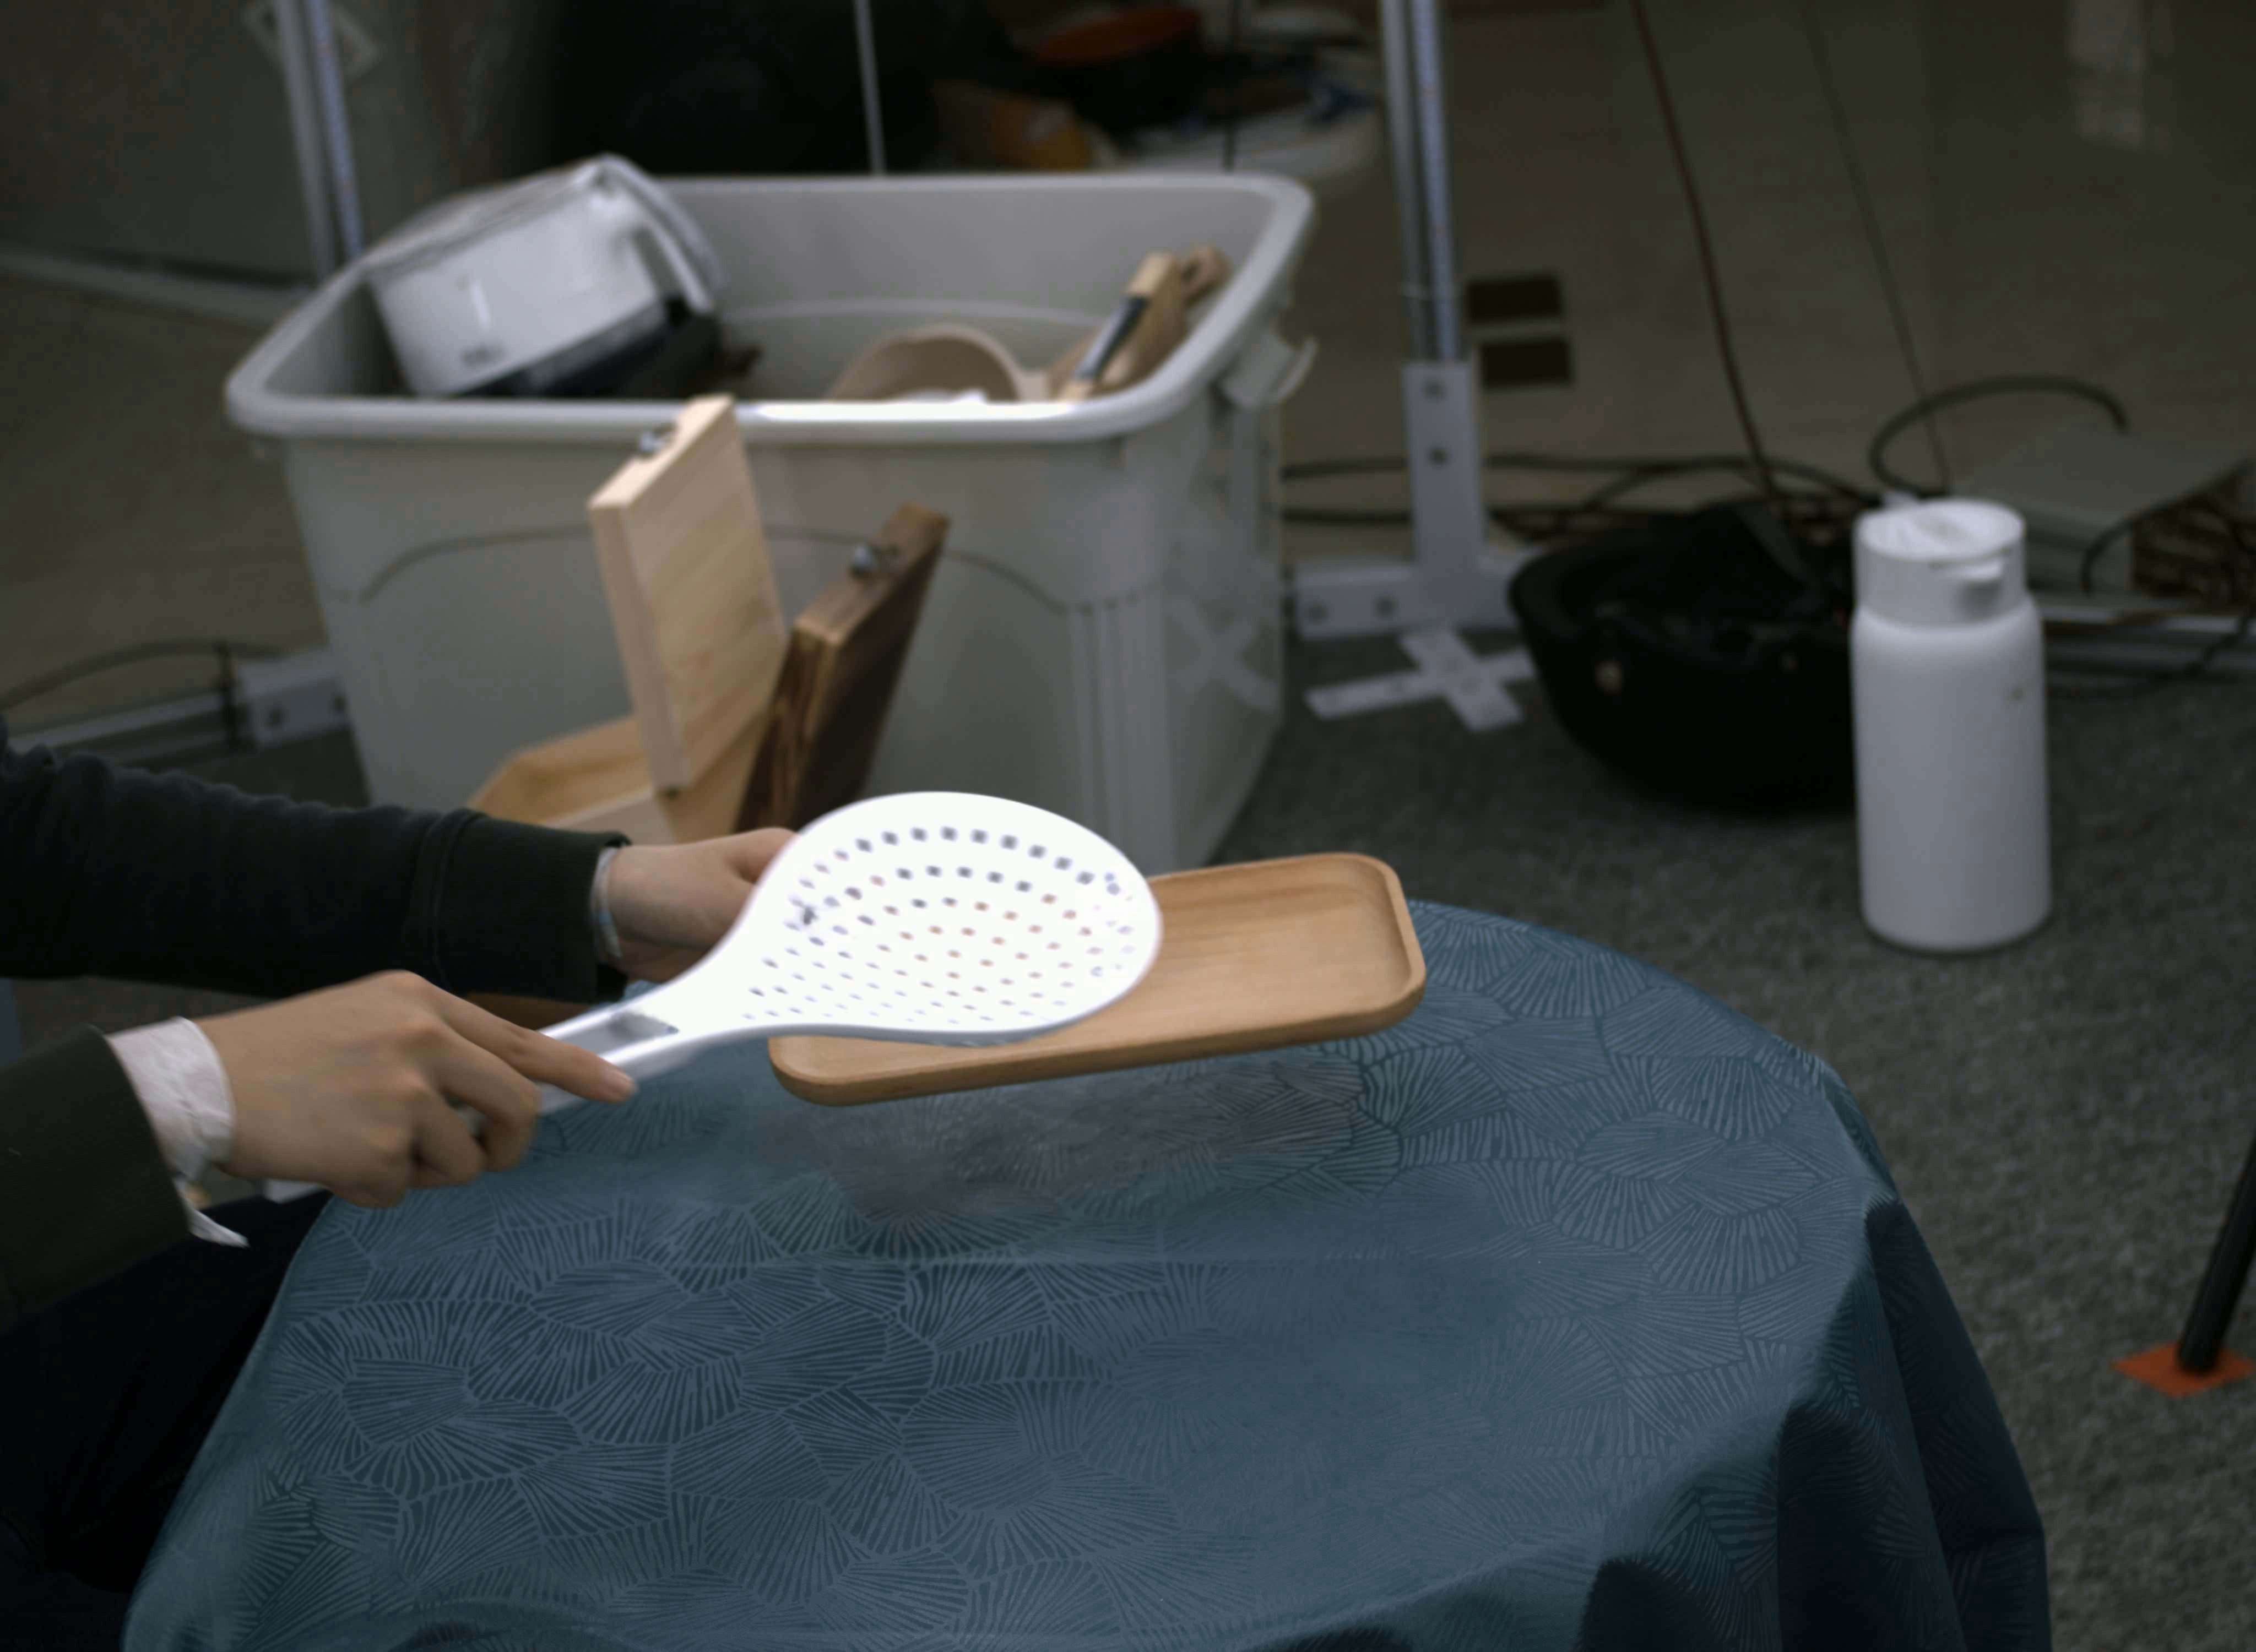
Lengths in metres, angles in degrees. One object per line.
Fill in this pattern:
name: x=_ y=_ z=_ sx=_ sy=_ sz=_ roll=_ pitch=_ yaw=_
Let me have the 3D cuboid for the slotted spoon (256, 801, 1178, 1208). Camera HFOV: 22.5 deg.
slotted spoon: x=-0.137 y=0.066 z=1.927 sx=0.348 sy=0.046 sz=0.134 roll=-15 pitch=41 yaw=-35

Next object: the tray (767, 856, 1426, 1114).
tray: x=-0.014 y=0.061 z=2.170 sx=0.250 sy=0.023 sz=0.128 roll=-8 pitch=27 yaw=-1
